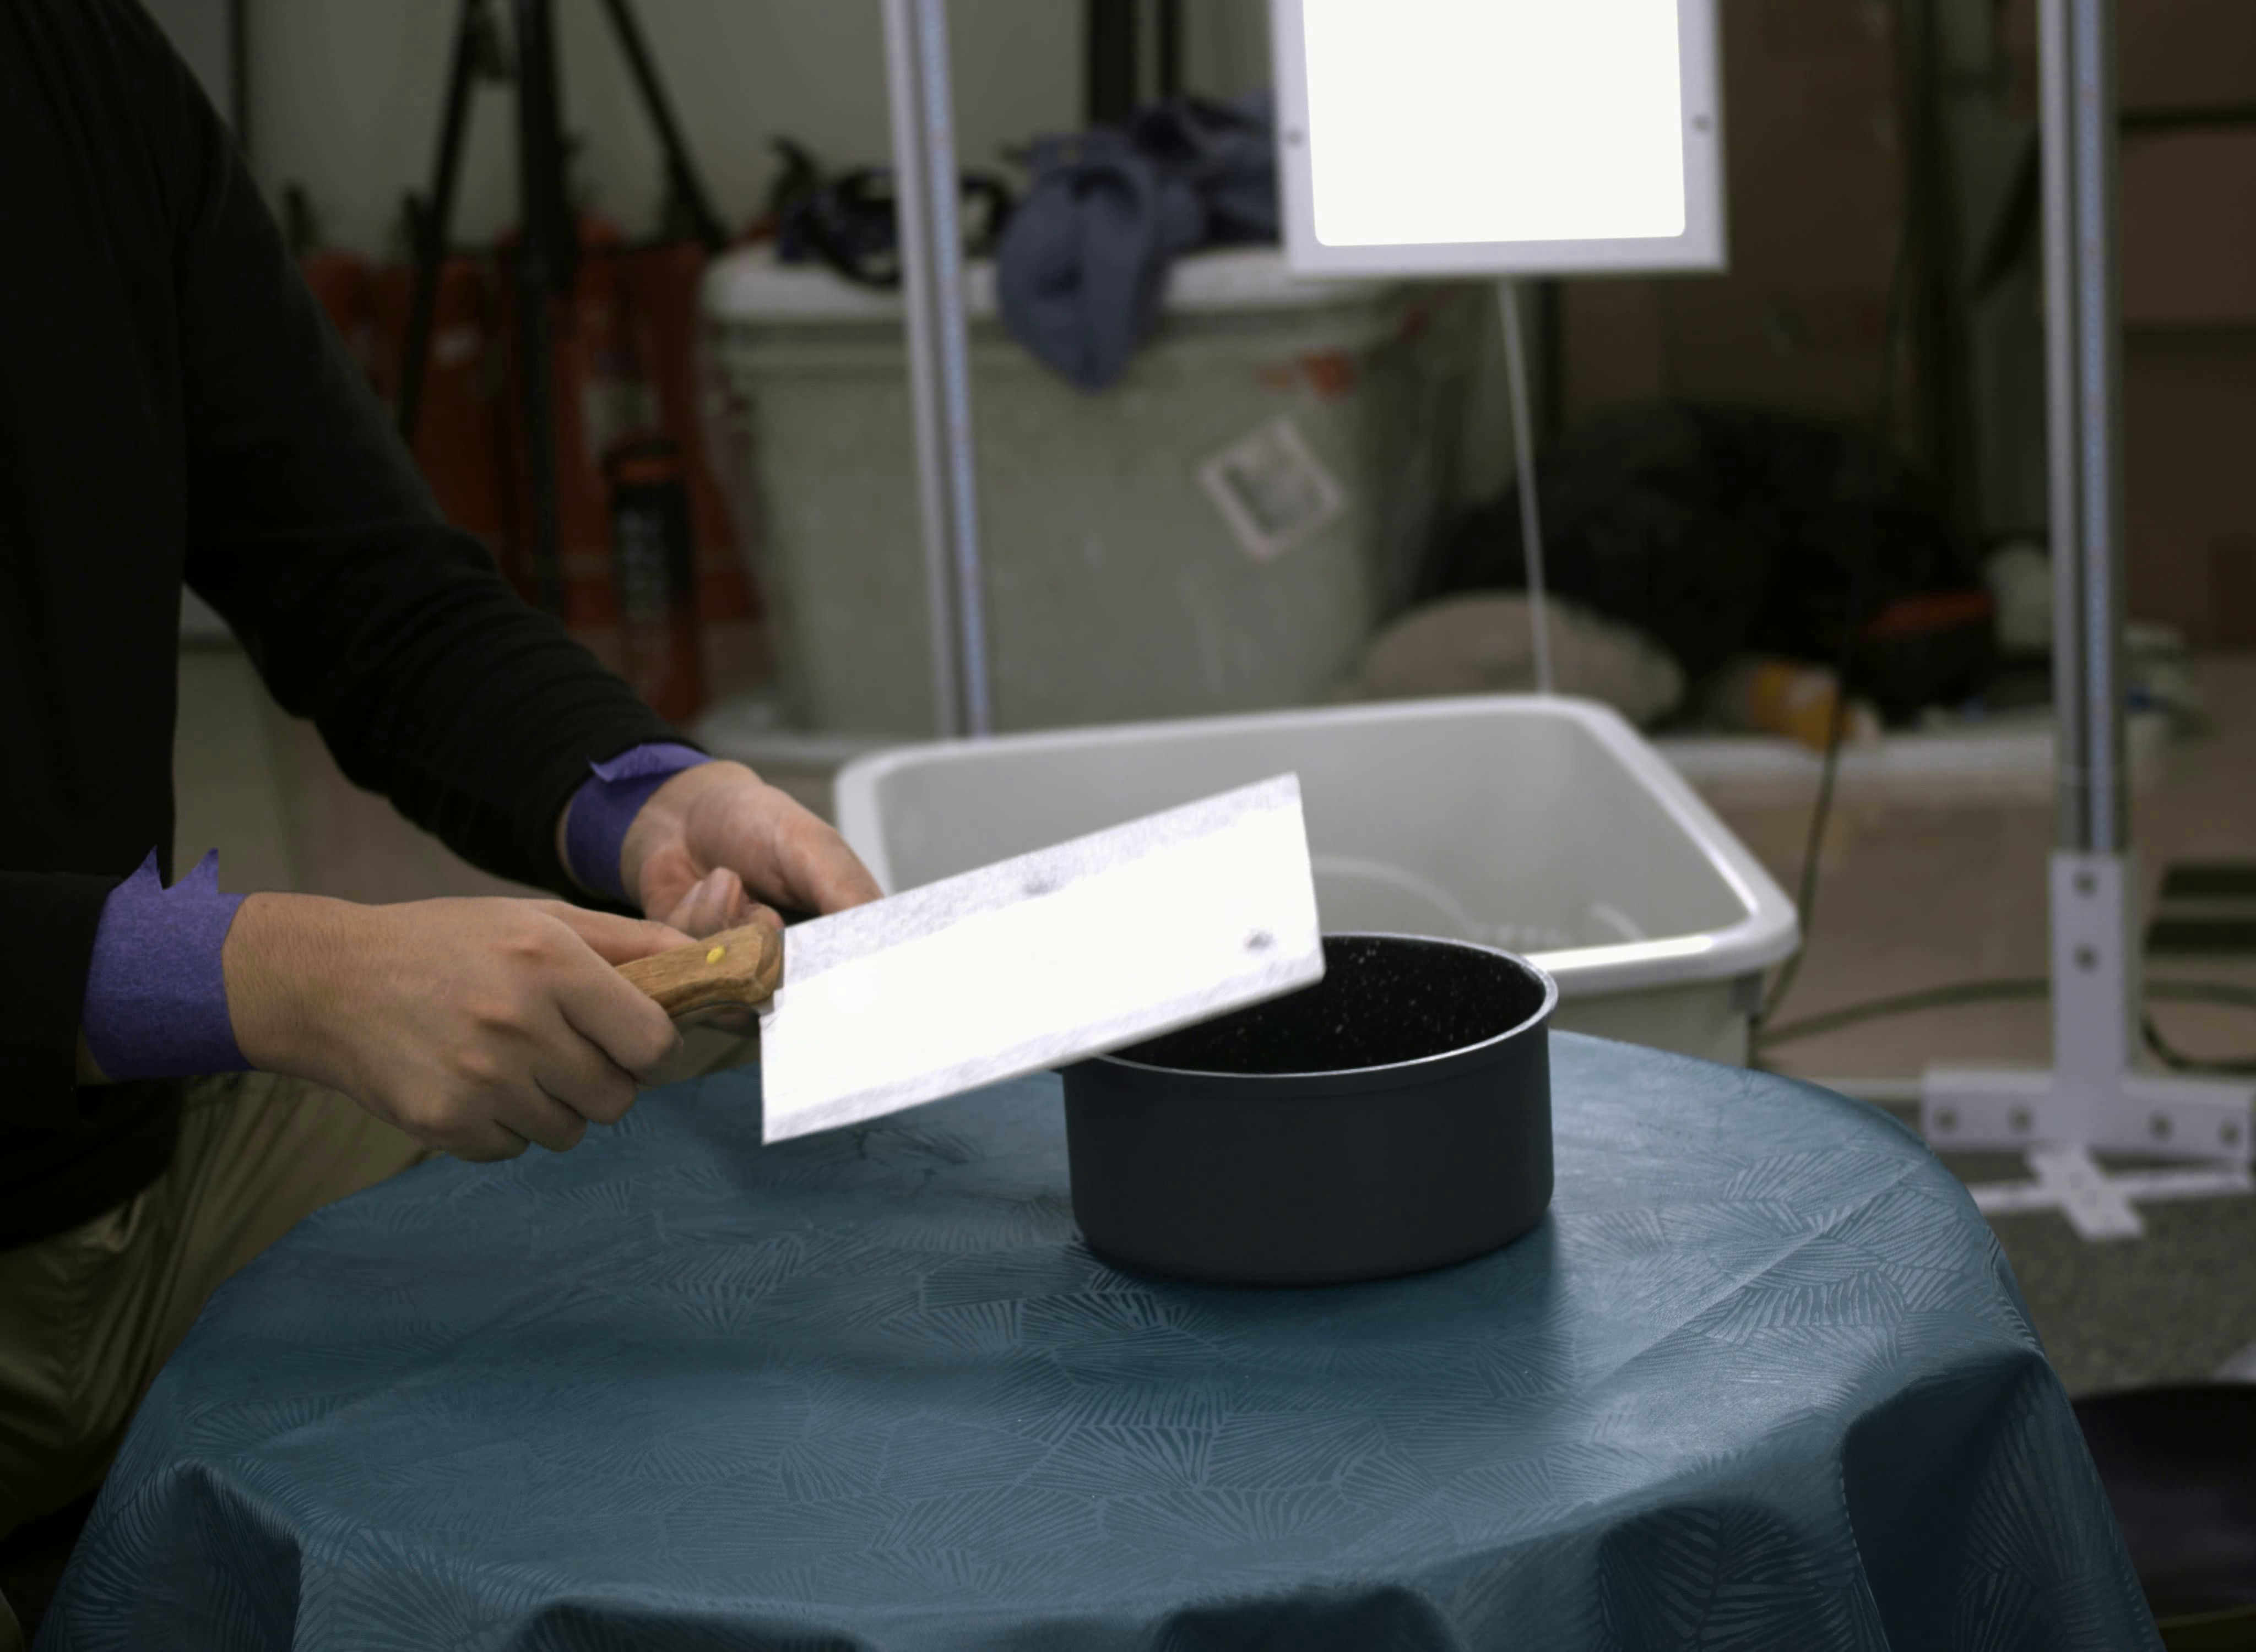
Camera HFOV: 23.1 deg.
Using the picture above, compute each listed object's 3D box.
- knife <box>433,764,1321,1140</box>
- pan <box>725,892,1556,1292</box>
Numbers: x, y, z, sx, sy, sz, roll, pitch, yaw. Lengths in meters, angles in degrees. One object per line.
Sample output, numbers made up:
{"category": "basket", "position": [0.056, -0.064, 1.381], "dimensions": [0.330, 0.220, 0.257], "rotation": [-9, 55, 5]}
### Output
{"category": "knife", "position": [-0.083, 0.055, 1.777], "dimensions": [0.308, 0.021, 0.093], "rotation": [-18, 46, 13]}
{"category": "pan", "position": [-0.004, 0.084, 1.893], "dimensions": [0.335, 0.087, 0.168], "rotation": [7, 18, 36]}
